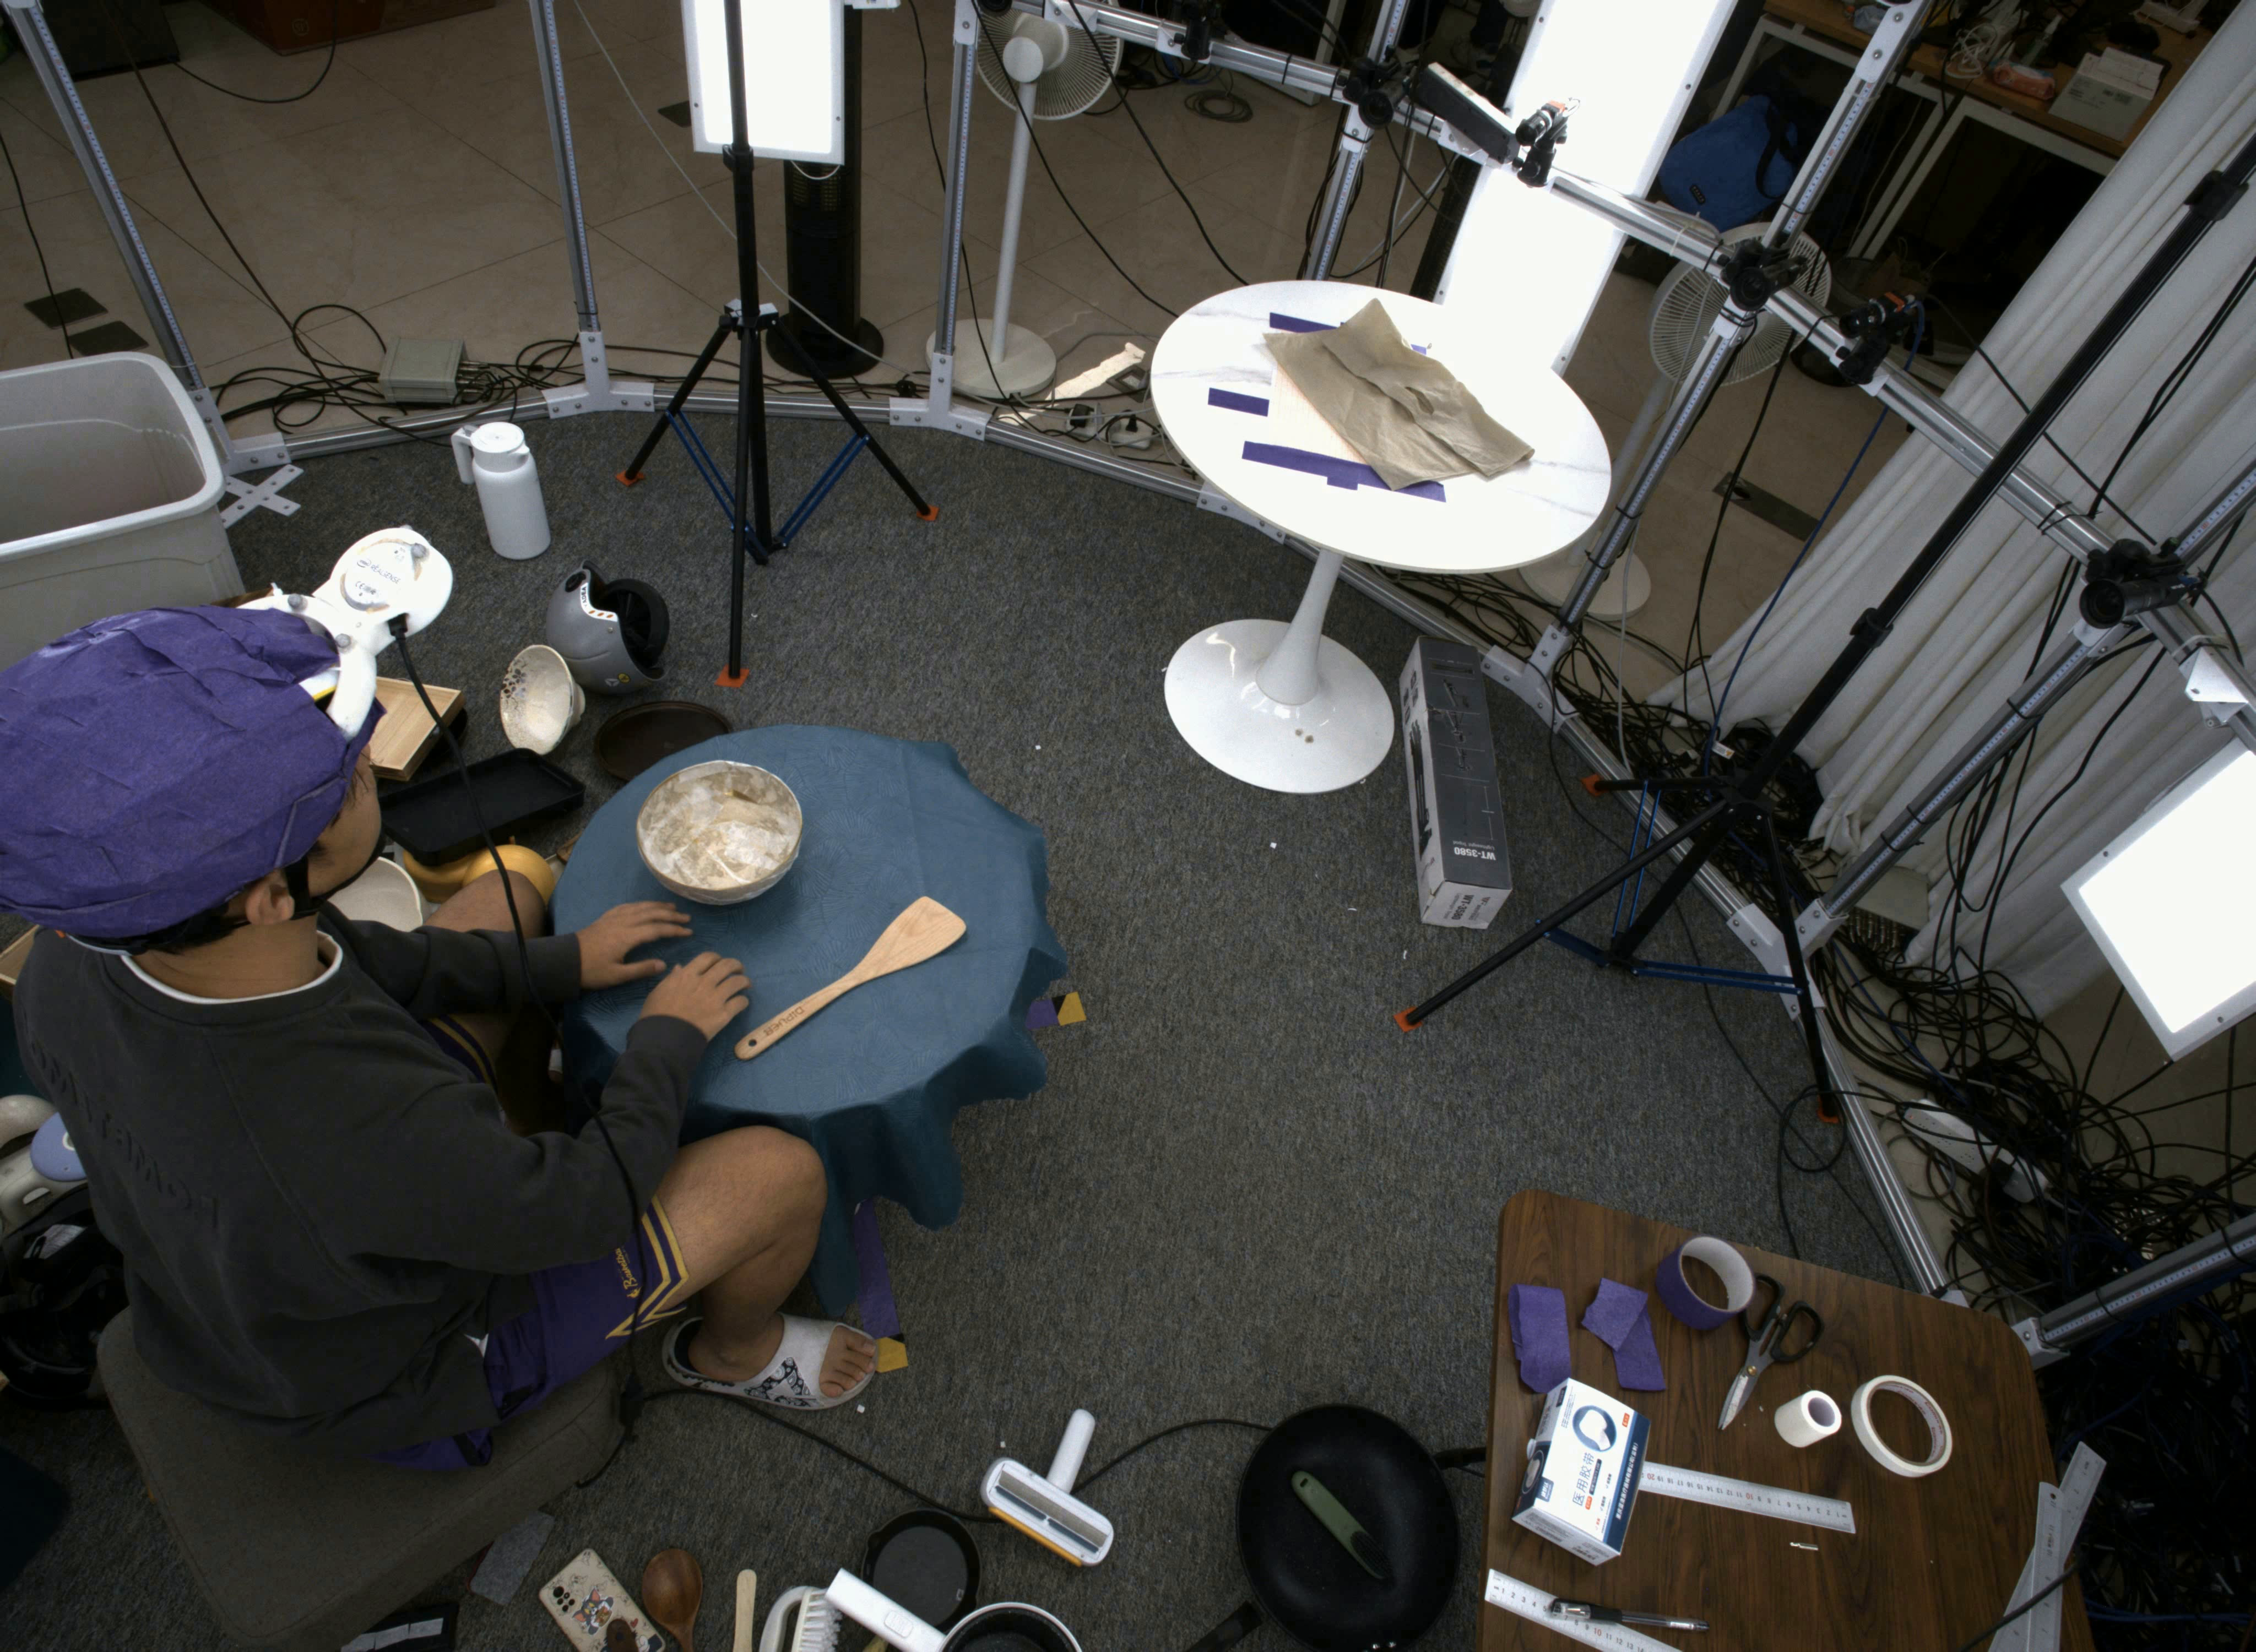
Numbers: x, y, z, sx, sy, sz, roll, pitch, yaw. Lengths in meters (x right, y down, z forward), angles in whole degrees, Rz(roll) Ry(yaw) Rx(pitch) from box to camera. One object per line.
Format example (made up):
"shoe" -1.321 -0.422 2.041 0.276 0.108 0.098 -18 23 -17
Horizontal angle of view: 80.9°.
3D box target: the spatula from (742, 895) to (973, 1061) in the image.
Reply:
"spatula" -0.337 0.186 1.602 0.328 0.017 0.078 -34 69 -32

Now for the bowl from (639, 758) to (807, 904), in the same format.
"bowl" -0.509 0.022 1.628 0.214 0.096 0.211 8 51 -9
